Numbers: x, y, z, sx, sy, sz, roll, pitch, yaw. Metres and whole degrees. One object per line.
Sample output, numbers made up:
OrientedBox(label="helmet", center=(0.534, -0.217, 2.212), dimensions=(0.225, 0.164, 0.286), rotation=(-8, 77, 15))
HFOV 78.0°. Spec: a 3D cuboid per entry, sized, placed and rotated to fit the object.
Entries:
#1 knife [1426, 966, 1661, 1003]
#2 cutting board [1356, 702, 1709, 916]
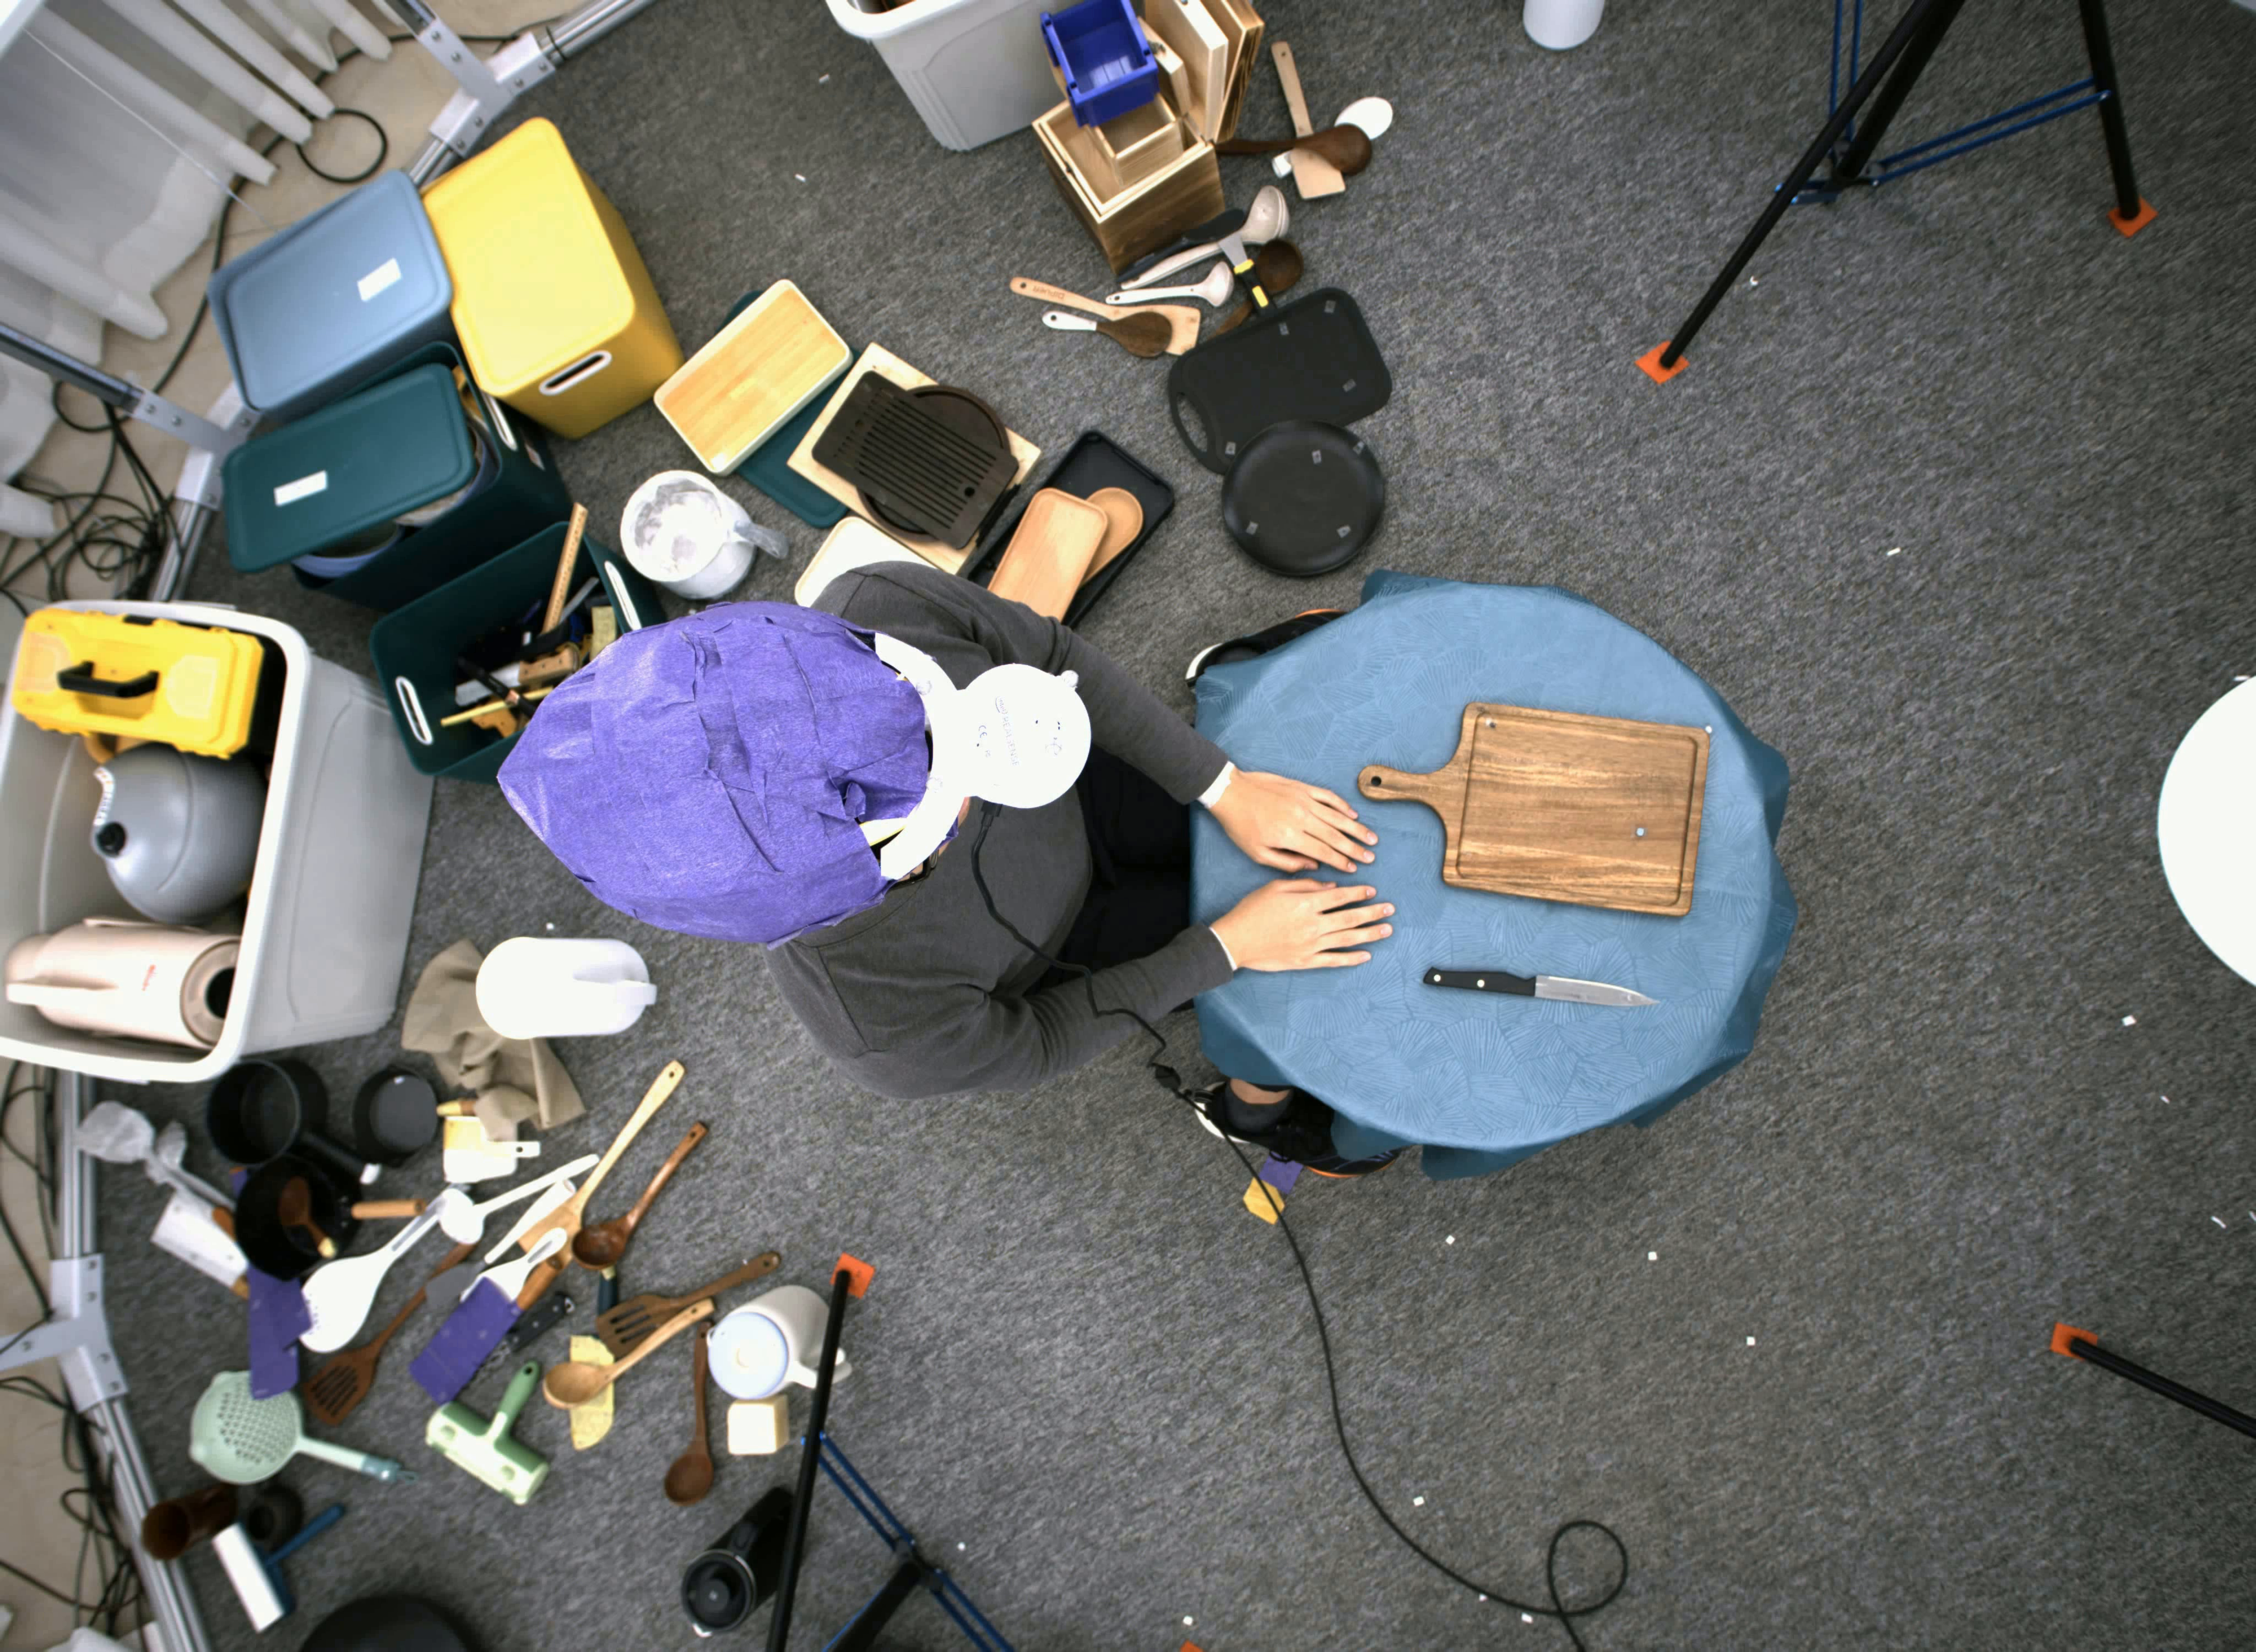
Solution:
OrientedBox(label="knife", center=(0.428, 0.164, 1.419), dimensions=(0.239, 0.016, 0.024), rotation=(5, 90, 8))
OrientedBox(label="cutting board", center=(0.414, -0.028, 1.428), dimensions=(0.353, 0.023, 0.200), rotation=(7, 88, 11))
